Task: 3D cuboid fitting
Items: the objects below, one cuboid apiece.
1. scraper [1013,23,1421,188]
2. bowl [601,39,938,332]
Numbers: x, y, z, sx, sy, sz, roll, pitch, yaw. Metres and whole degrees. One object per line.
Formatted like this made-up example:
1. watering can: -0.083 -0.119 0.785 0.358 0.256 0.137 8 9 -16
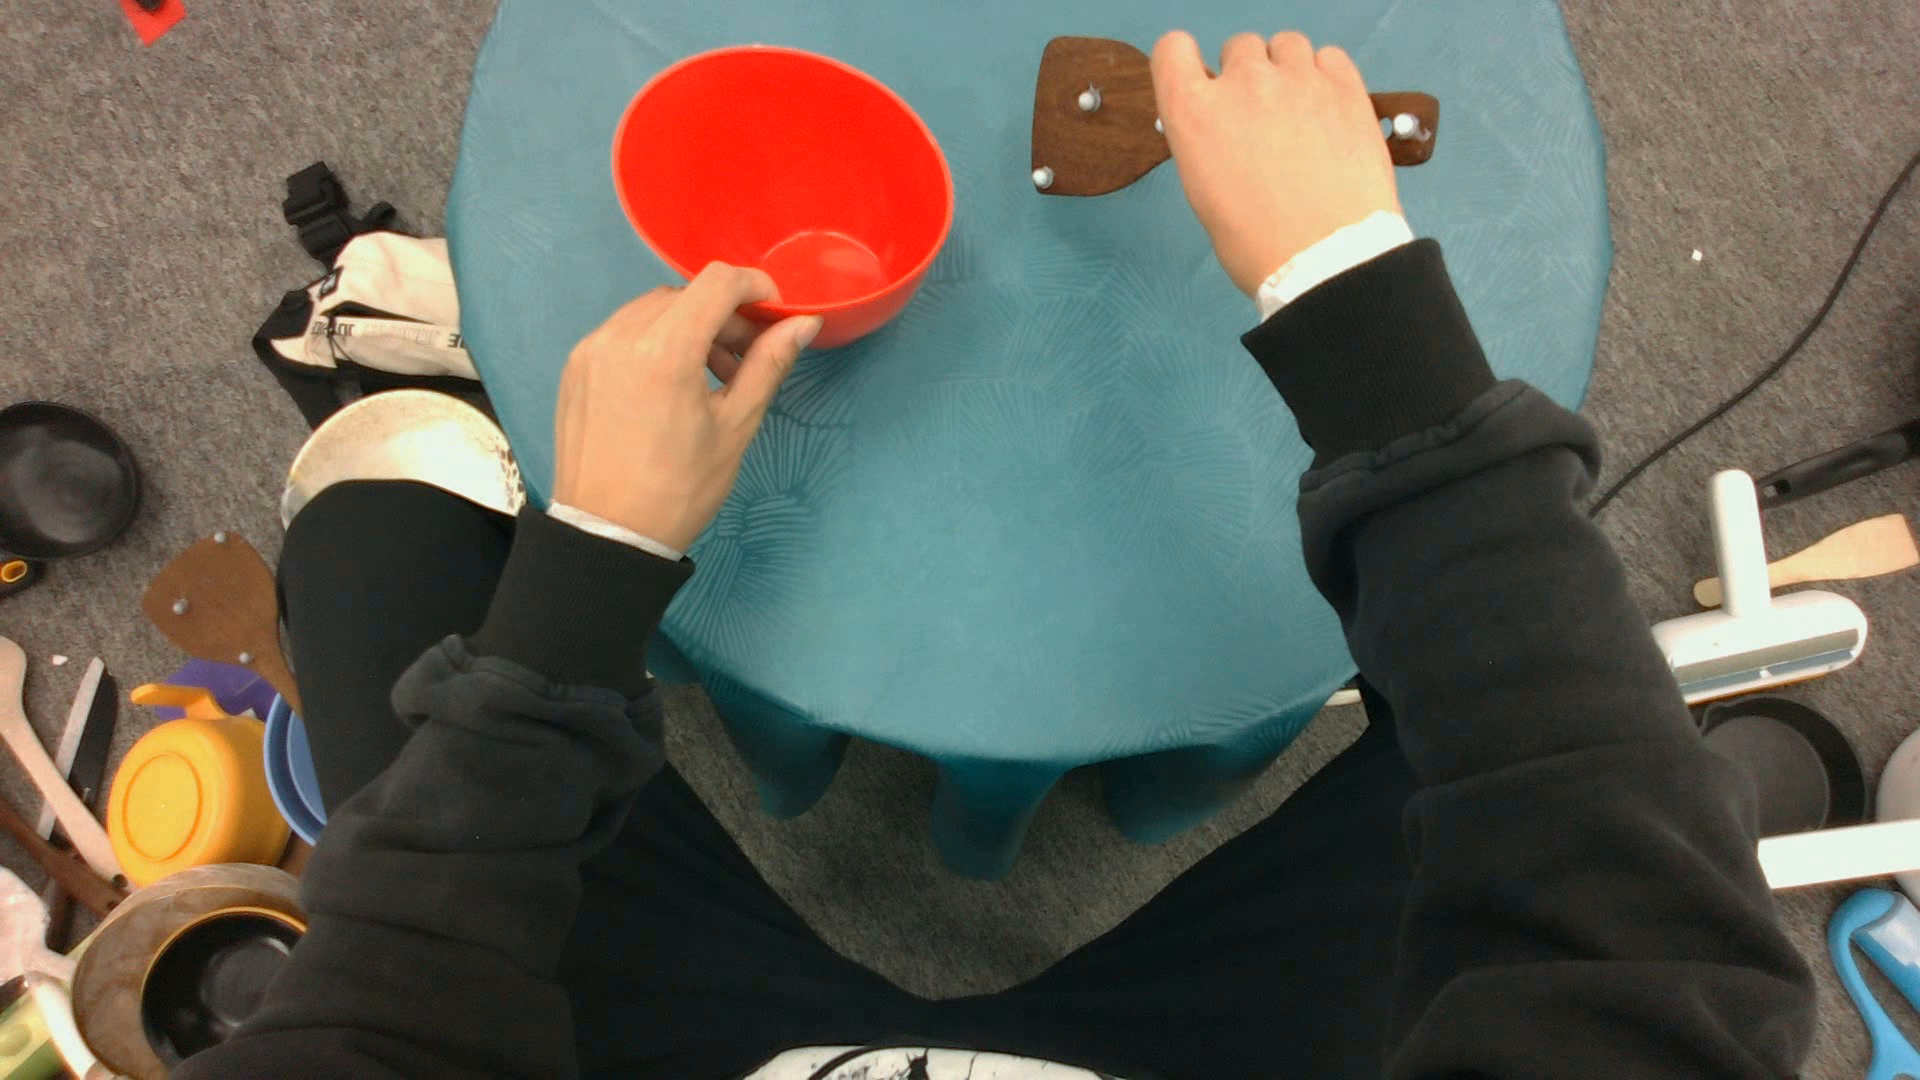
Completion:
1. scraper: 0.105 -0.188 0.609 0.211 0.011 0.075 19 110 41
2. bowl: -0.085 -0.152 0.650 0.148 0.104 0.148 2 64 -3
